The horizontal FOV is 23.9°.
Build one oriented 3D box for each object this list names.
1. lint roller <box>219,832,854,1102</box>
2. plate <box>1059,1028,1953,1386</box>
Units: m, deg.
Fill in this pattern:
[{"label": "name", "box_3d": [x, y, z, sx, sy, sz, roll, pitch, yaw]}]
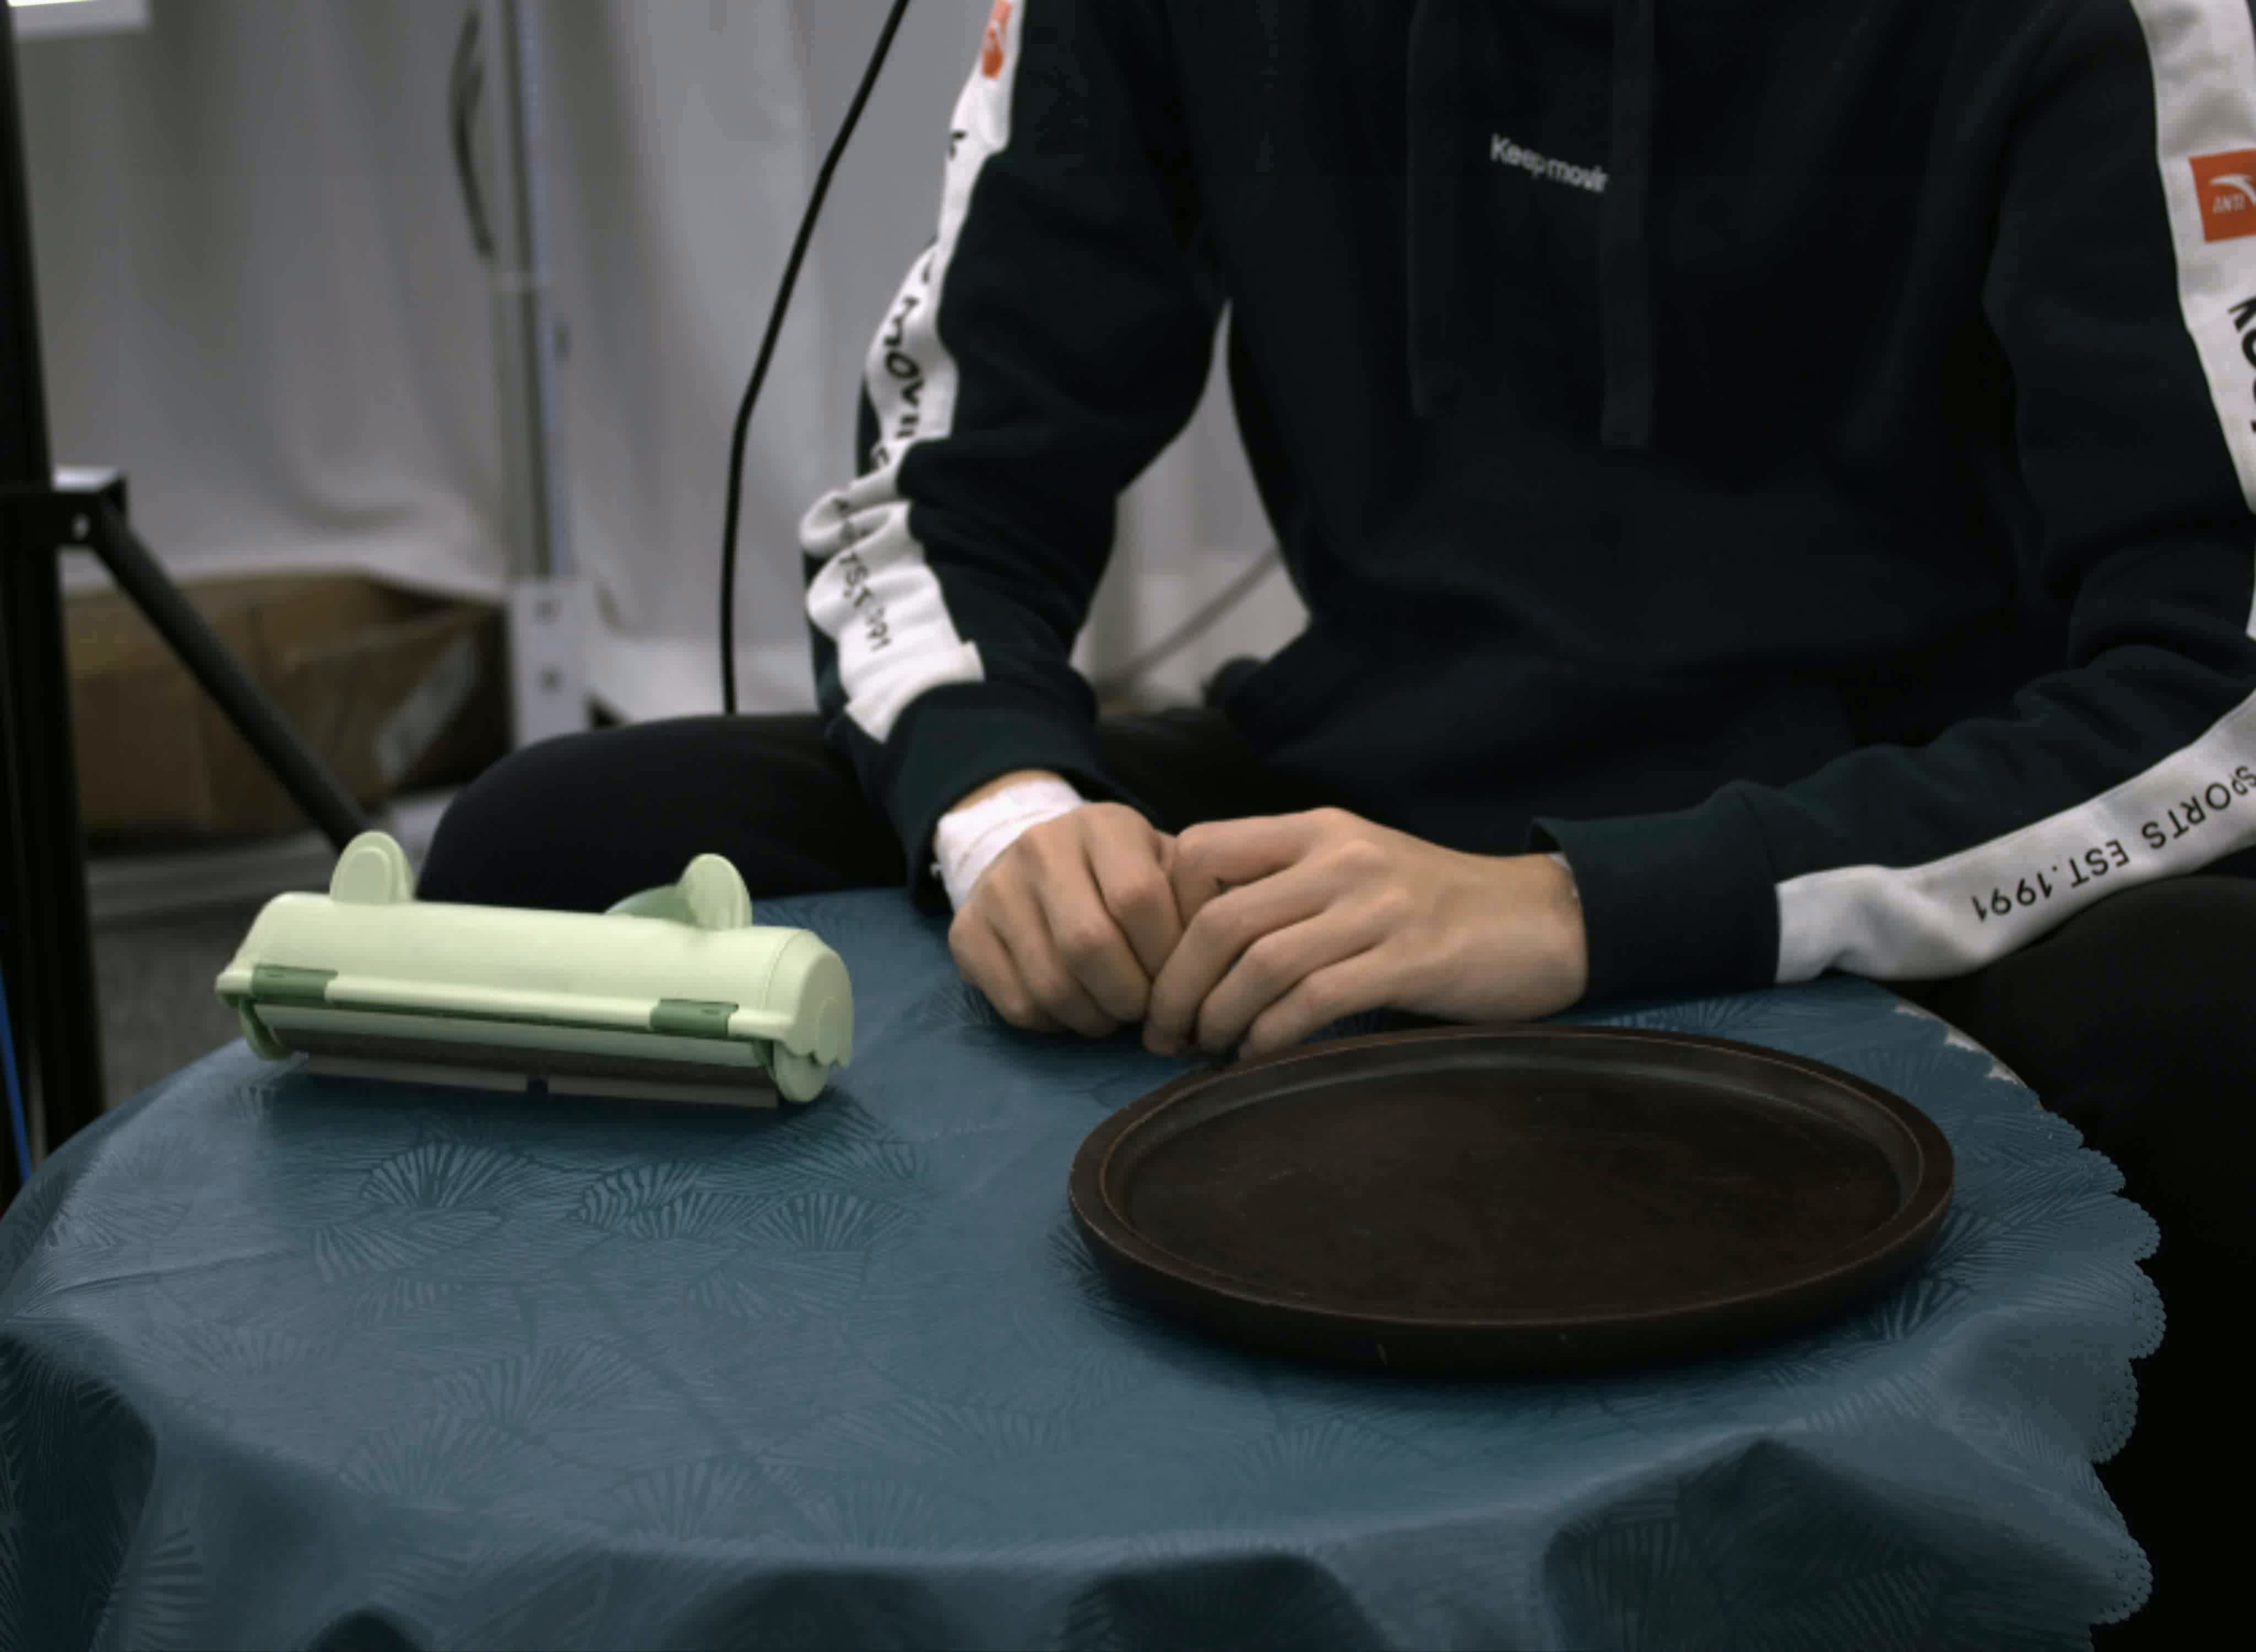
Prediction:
[{"label": "lint roller", "box_3d": [-0.167, 0.029, 1.719, 0.201, 0.082, 0.181, 3, 20, 21]}, {"label": "plate", "box_3d": [0.107, 0.106, 1.504, 0.253, 0.029, 0.256, -4, 15, 0]}]
